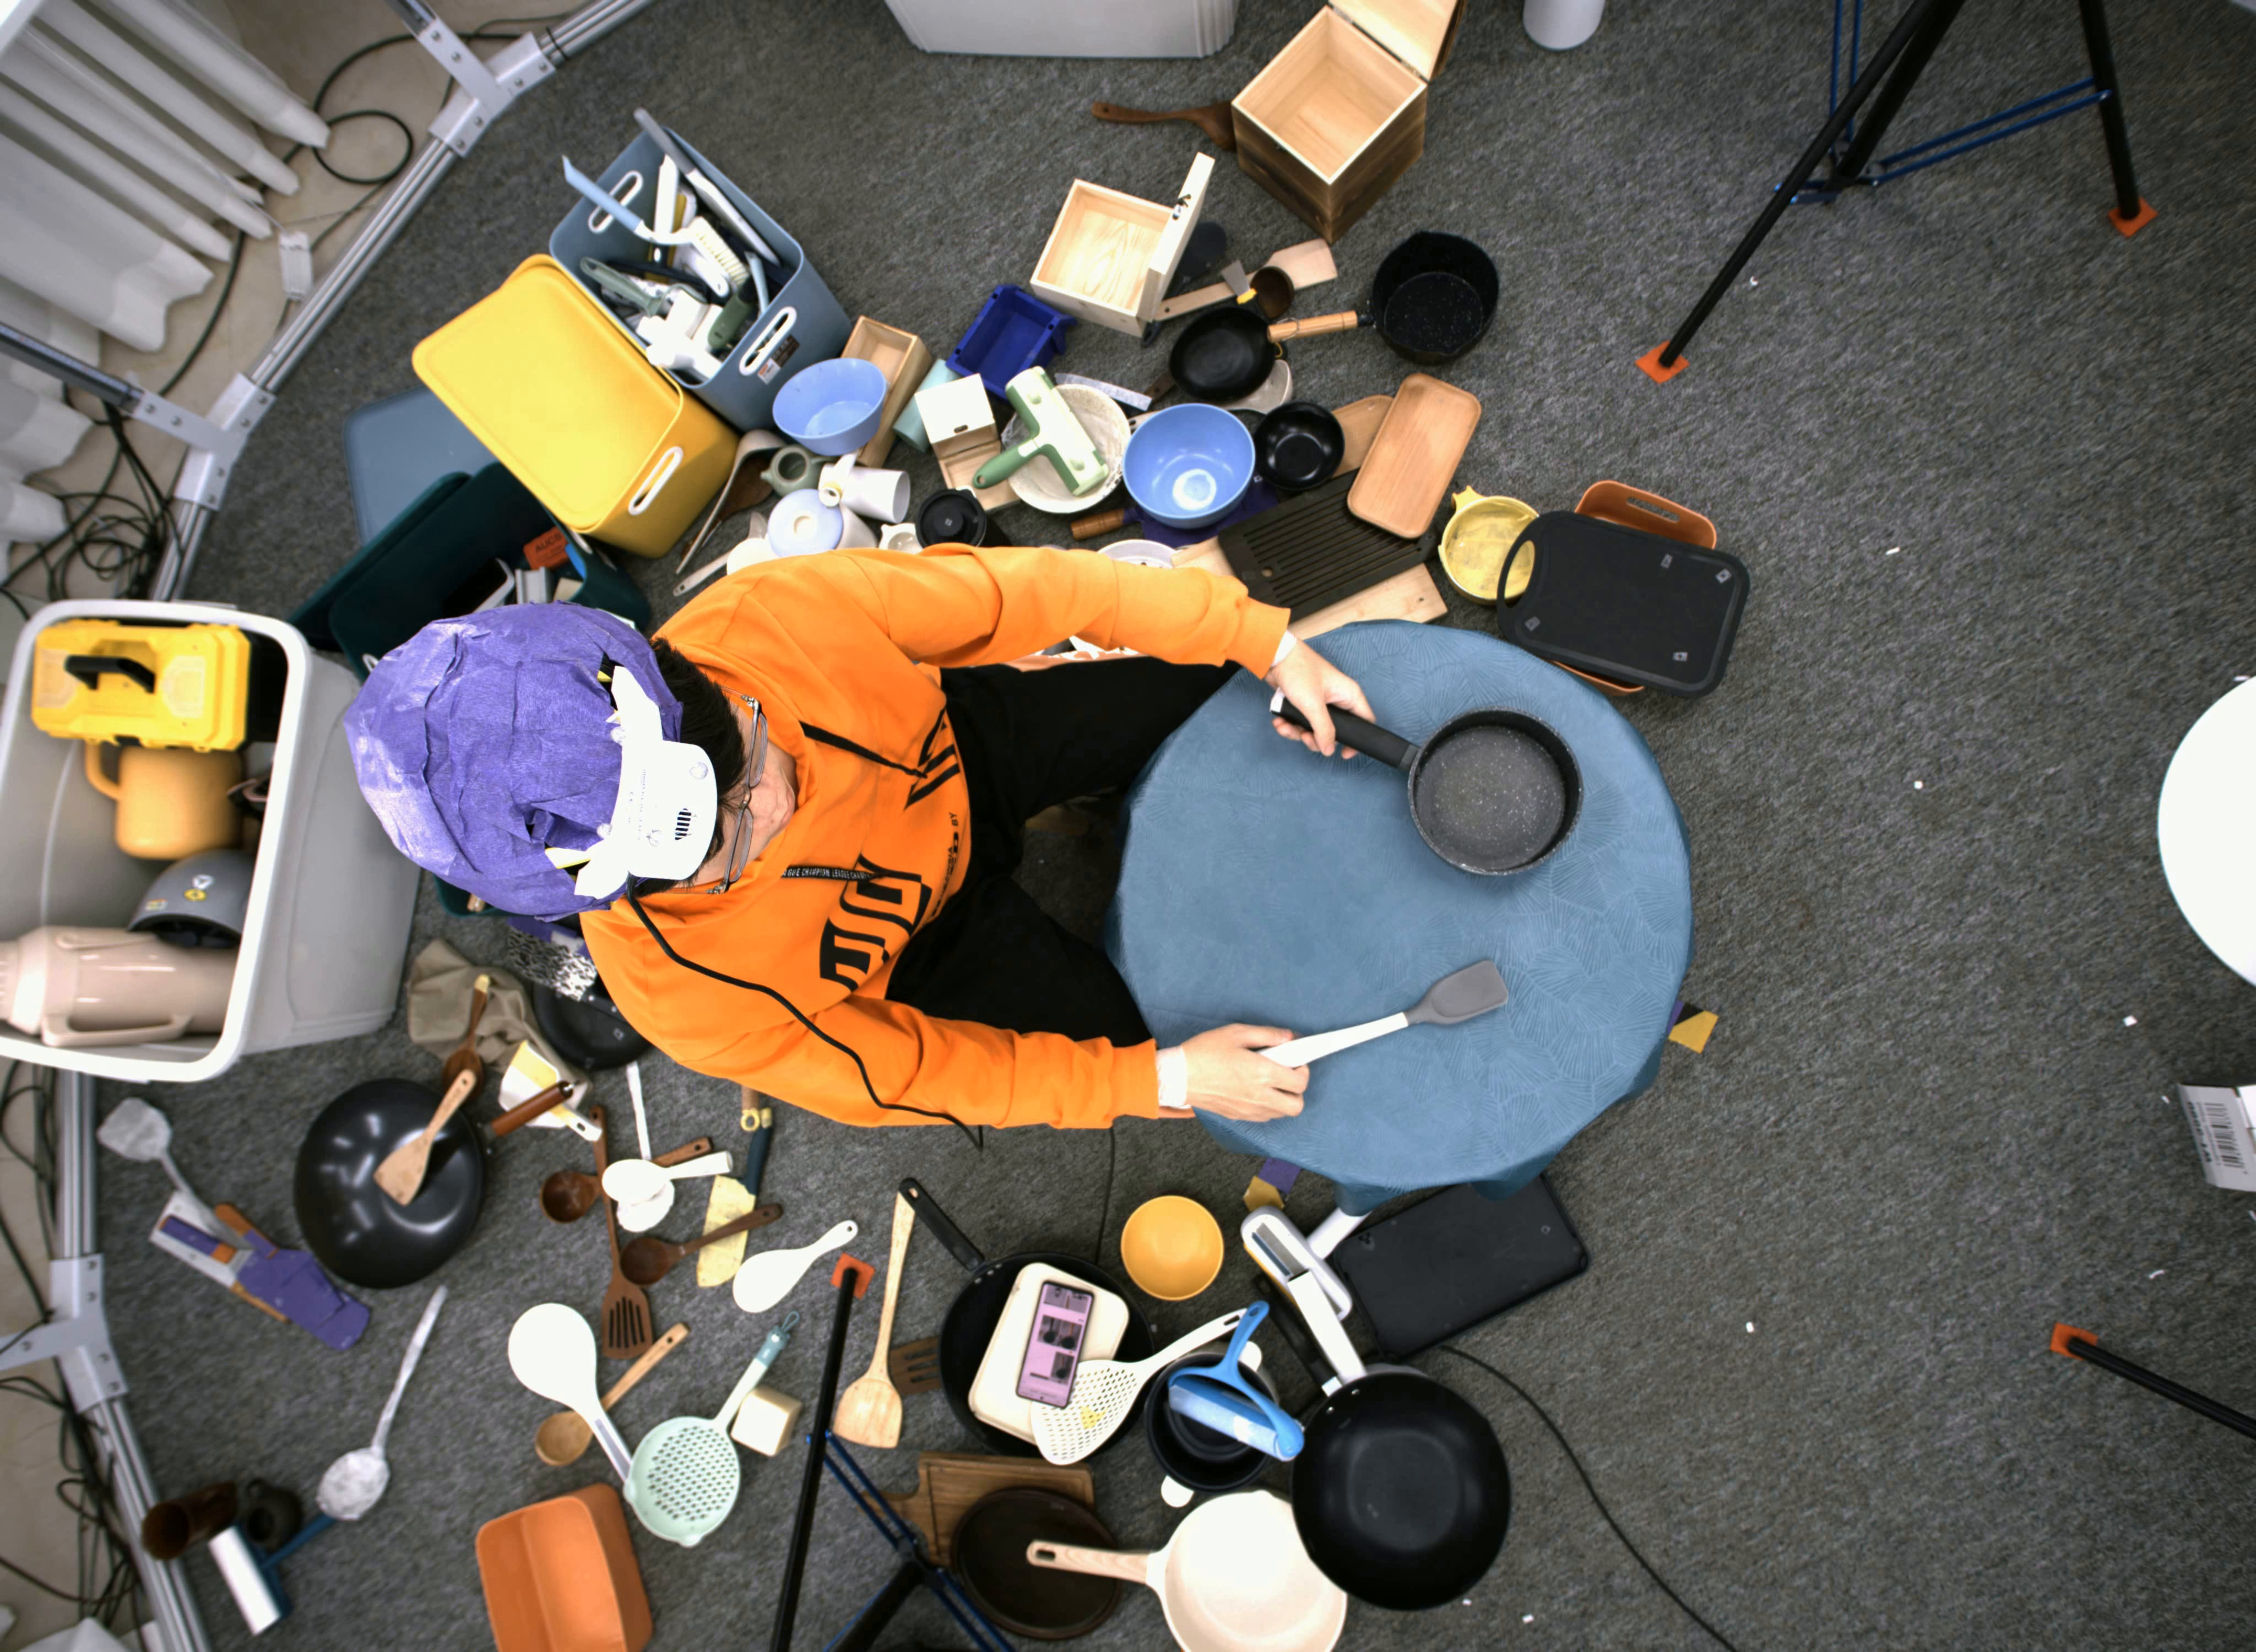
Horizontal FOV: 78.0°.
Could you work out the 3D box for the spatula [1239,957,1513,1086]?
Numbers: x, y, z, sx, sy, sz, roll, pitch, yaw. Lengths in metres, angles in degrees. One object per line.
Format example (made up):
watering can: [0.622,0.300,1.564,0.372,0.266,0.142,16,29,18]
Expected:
spatula: [0.255,0.206,1.434,0.289,0.033,0.057,-20,56,5]

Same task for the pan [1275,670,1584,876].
pan: [0.303,-0.069,1.419,0.328,0.086,0.172,27,90,9]
